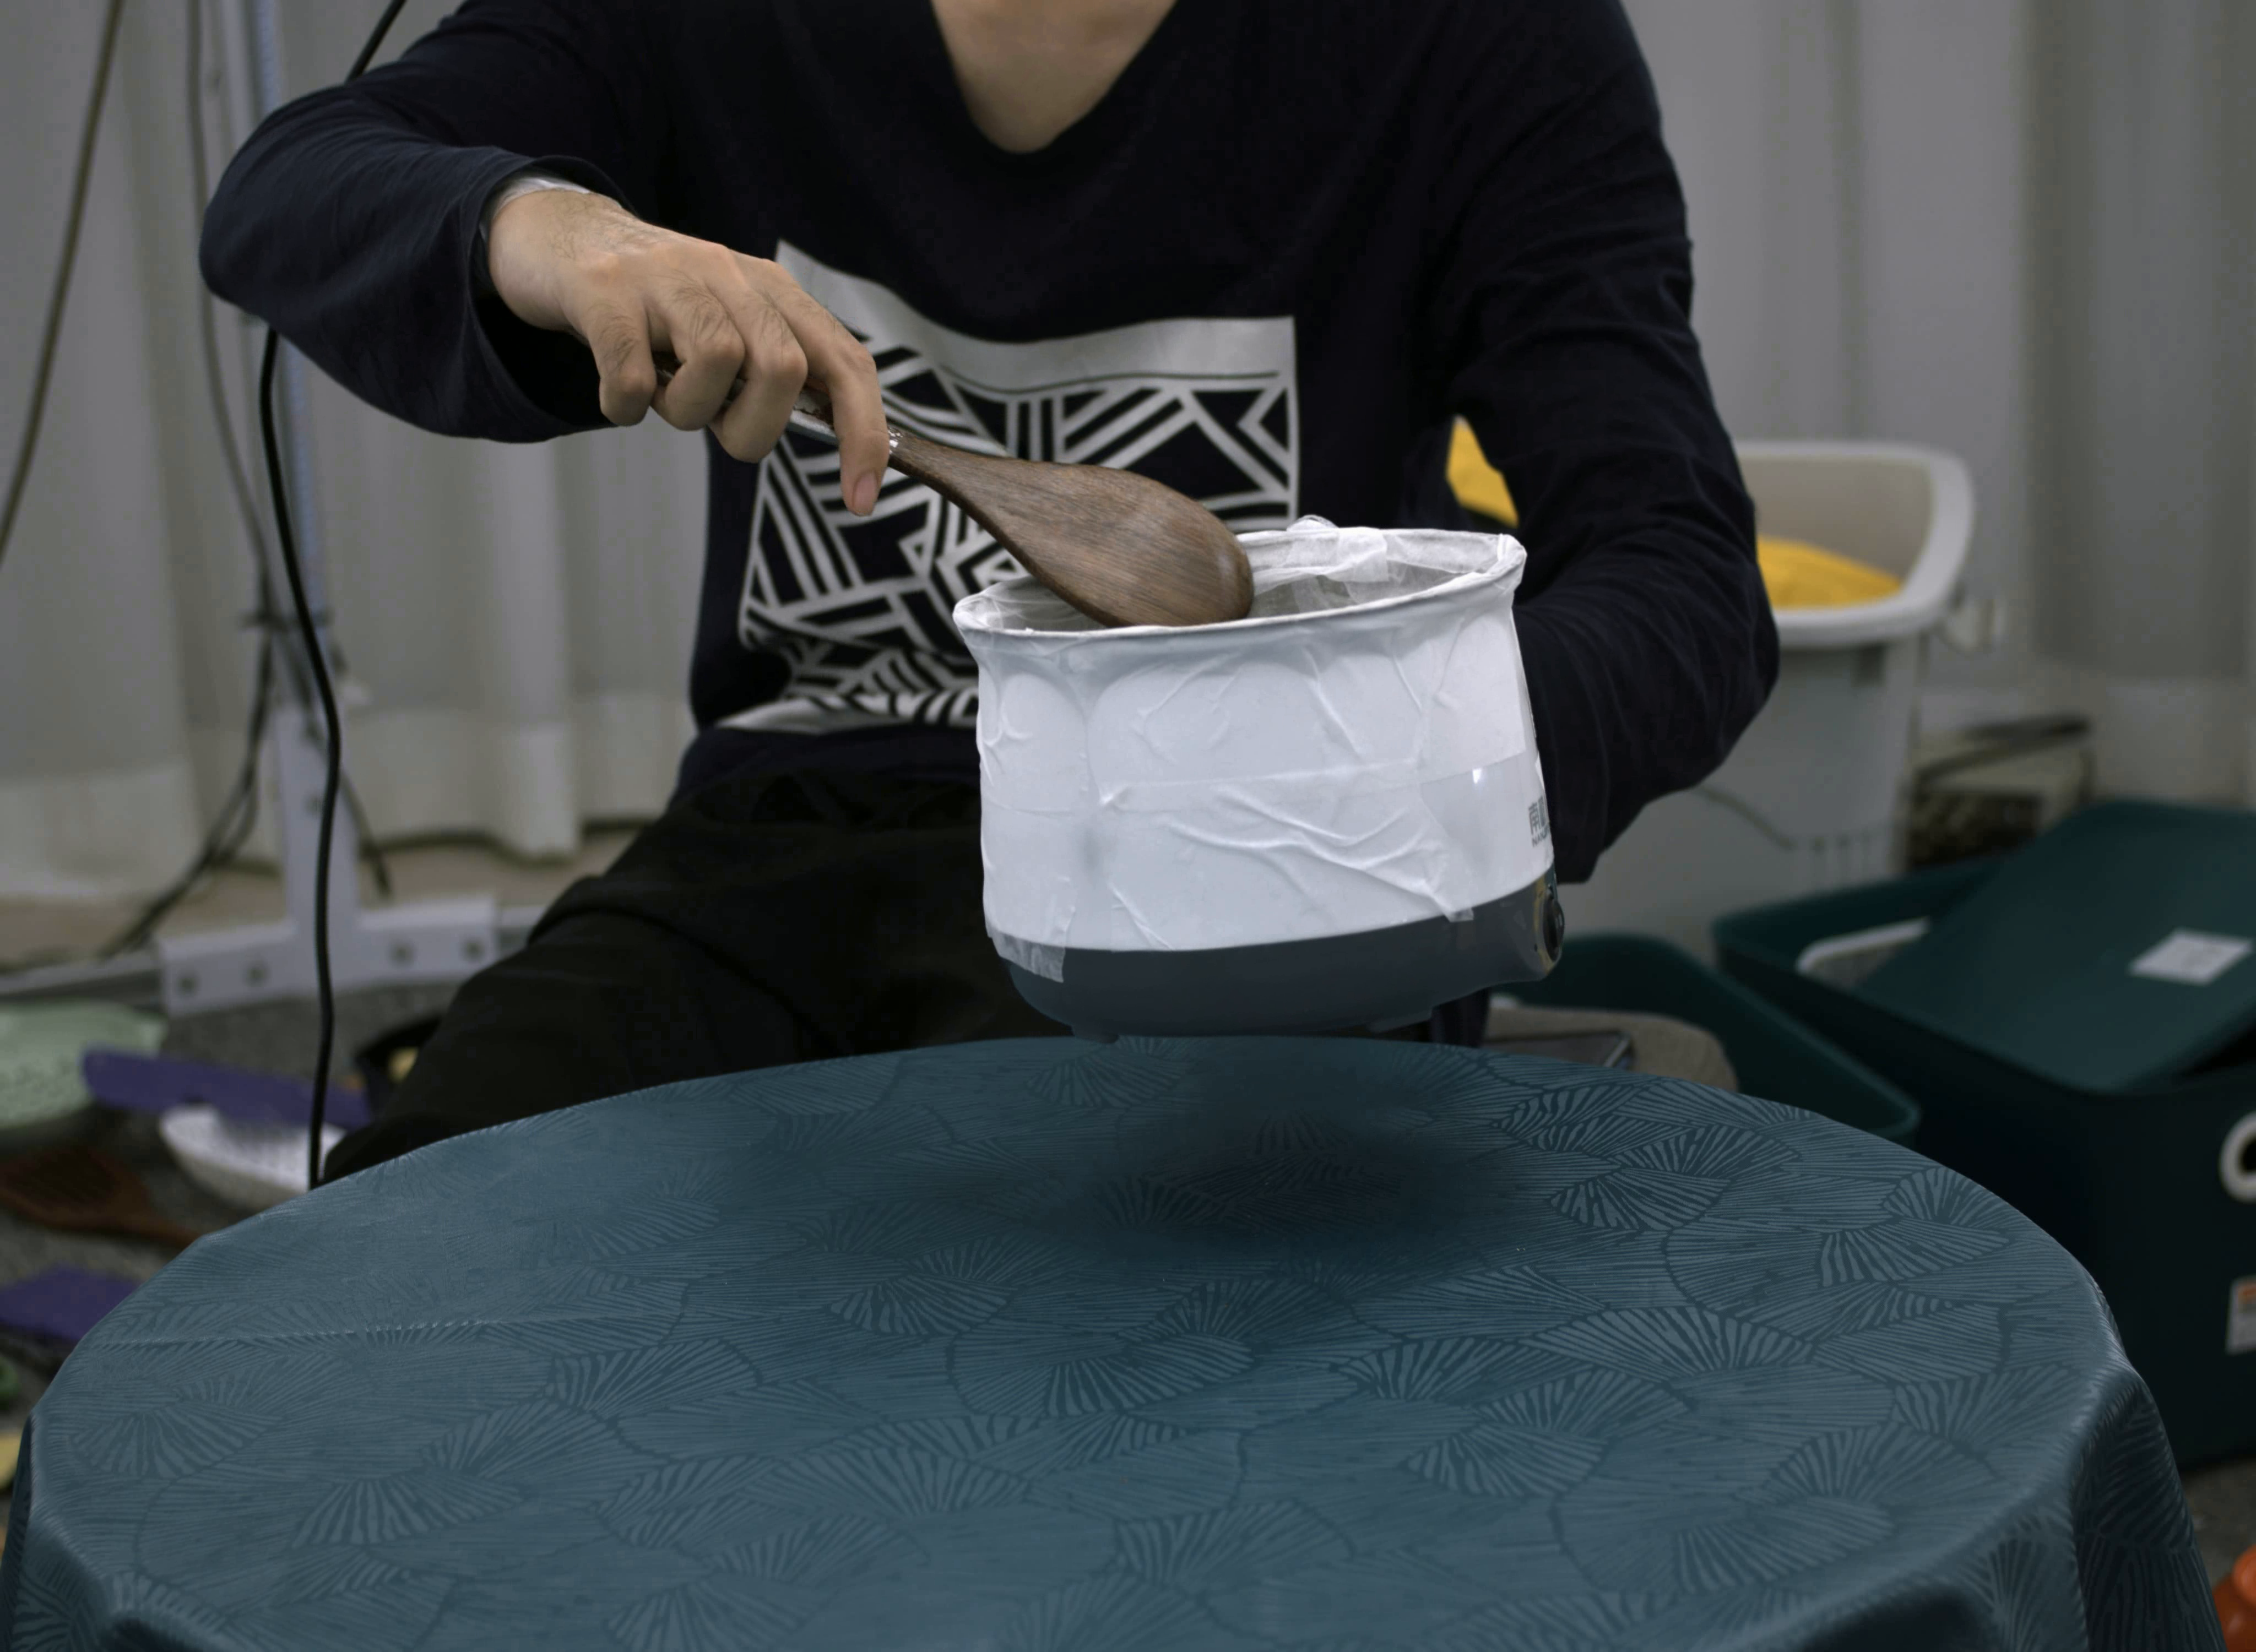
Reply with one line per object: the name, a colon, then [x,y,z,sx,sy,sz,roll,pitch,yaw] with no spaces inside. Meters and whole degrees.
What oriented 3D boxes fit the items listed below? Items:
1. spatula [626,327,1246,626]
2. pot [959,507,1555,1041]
spatula: [-0.060,-0.113,1.736,0.215,0.009,0.072,25,39,1]
pot: [0.047,-0.020,1.714,0.178,0.136,0.234,-1,12,13]
